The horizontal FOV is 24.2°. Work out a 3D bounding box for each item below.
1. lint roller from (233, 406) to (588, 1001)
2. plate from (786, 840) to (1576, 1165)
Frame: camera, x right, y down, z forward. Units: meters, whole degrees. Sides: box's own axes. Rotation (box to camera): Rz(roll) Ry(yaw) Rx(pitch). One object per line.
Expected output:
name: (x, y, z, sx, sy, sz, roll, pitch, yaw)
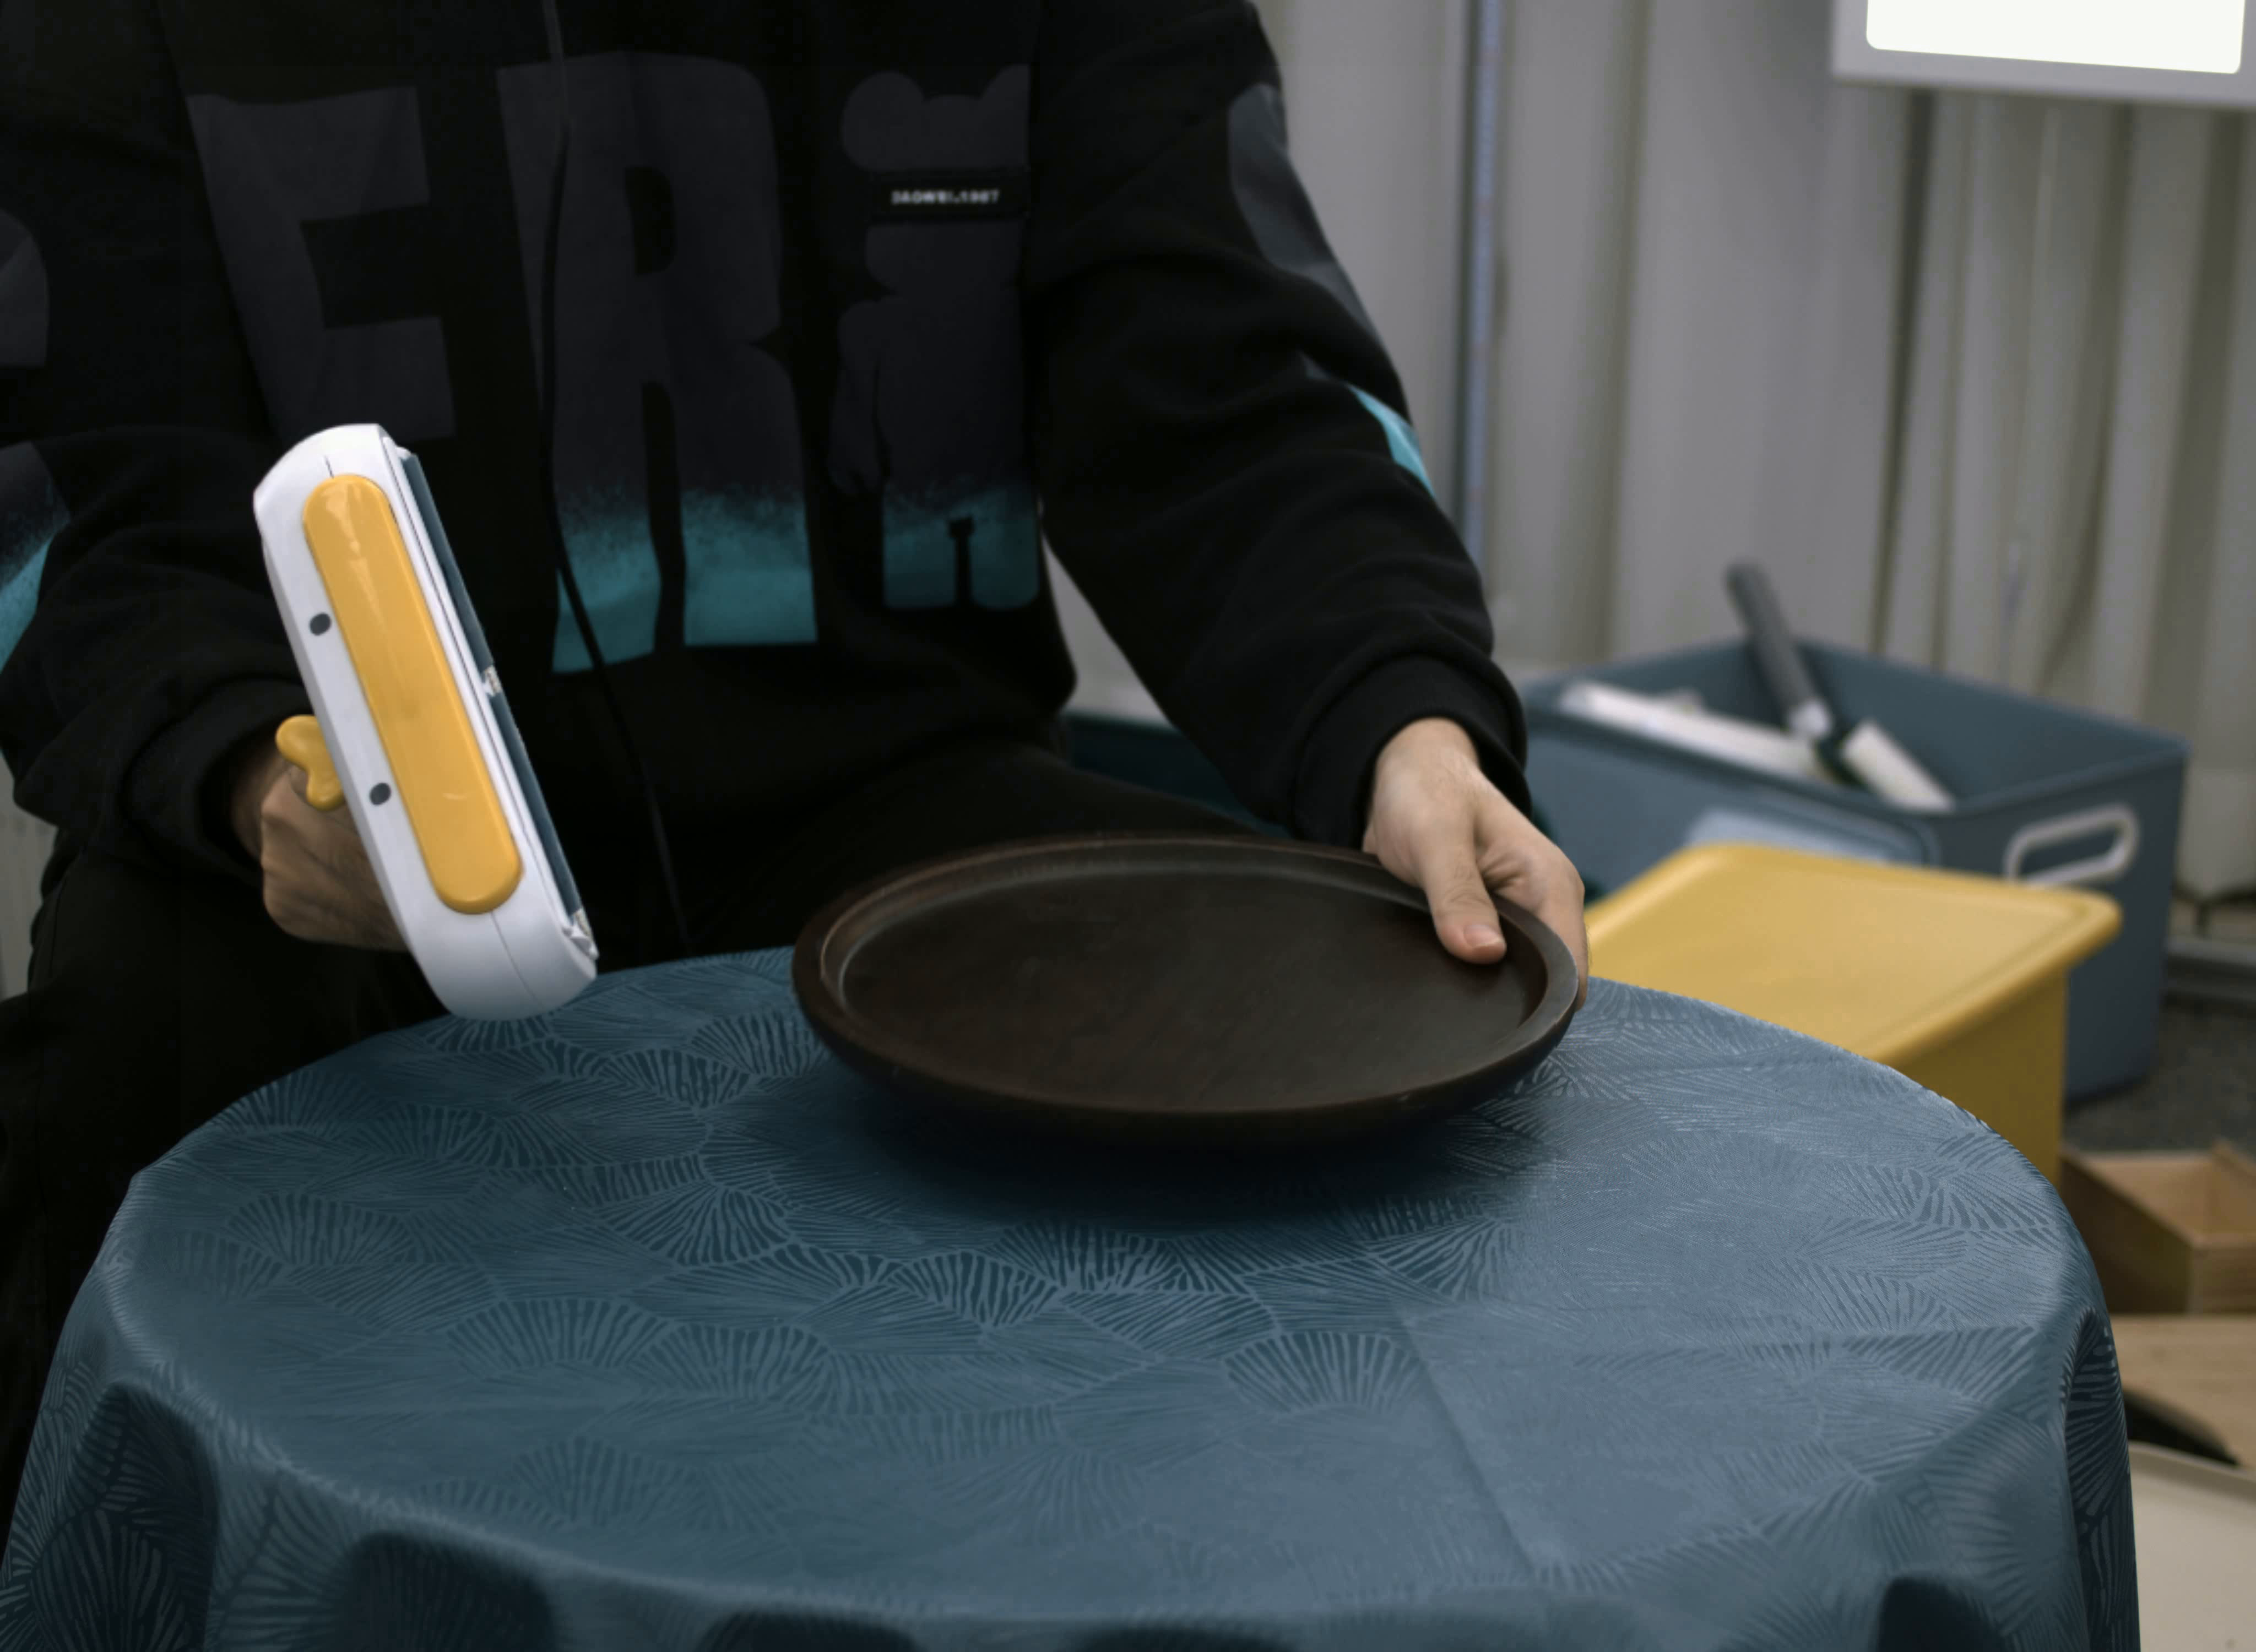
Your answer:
lint roller: (-0.222, -0.012, 1.645, 0.074, 0.191, 0.194, -25, -19, -9)
plate: (0.017, 0.055, 1.689, 0.254, 0.029, 0.253, 1, 18, 0)
